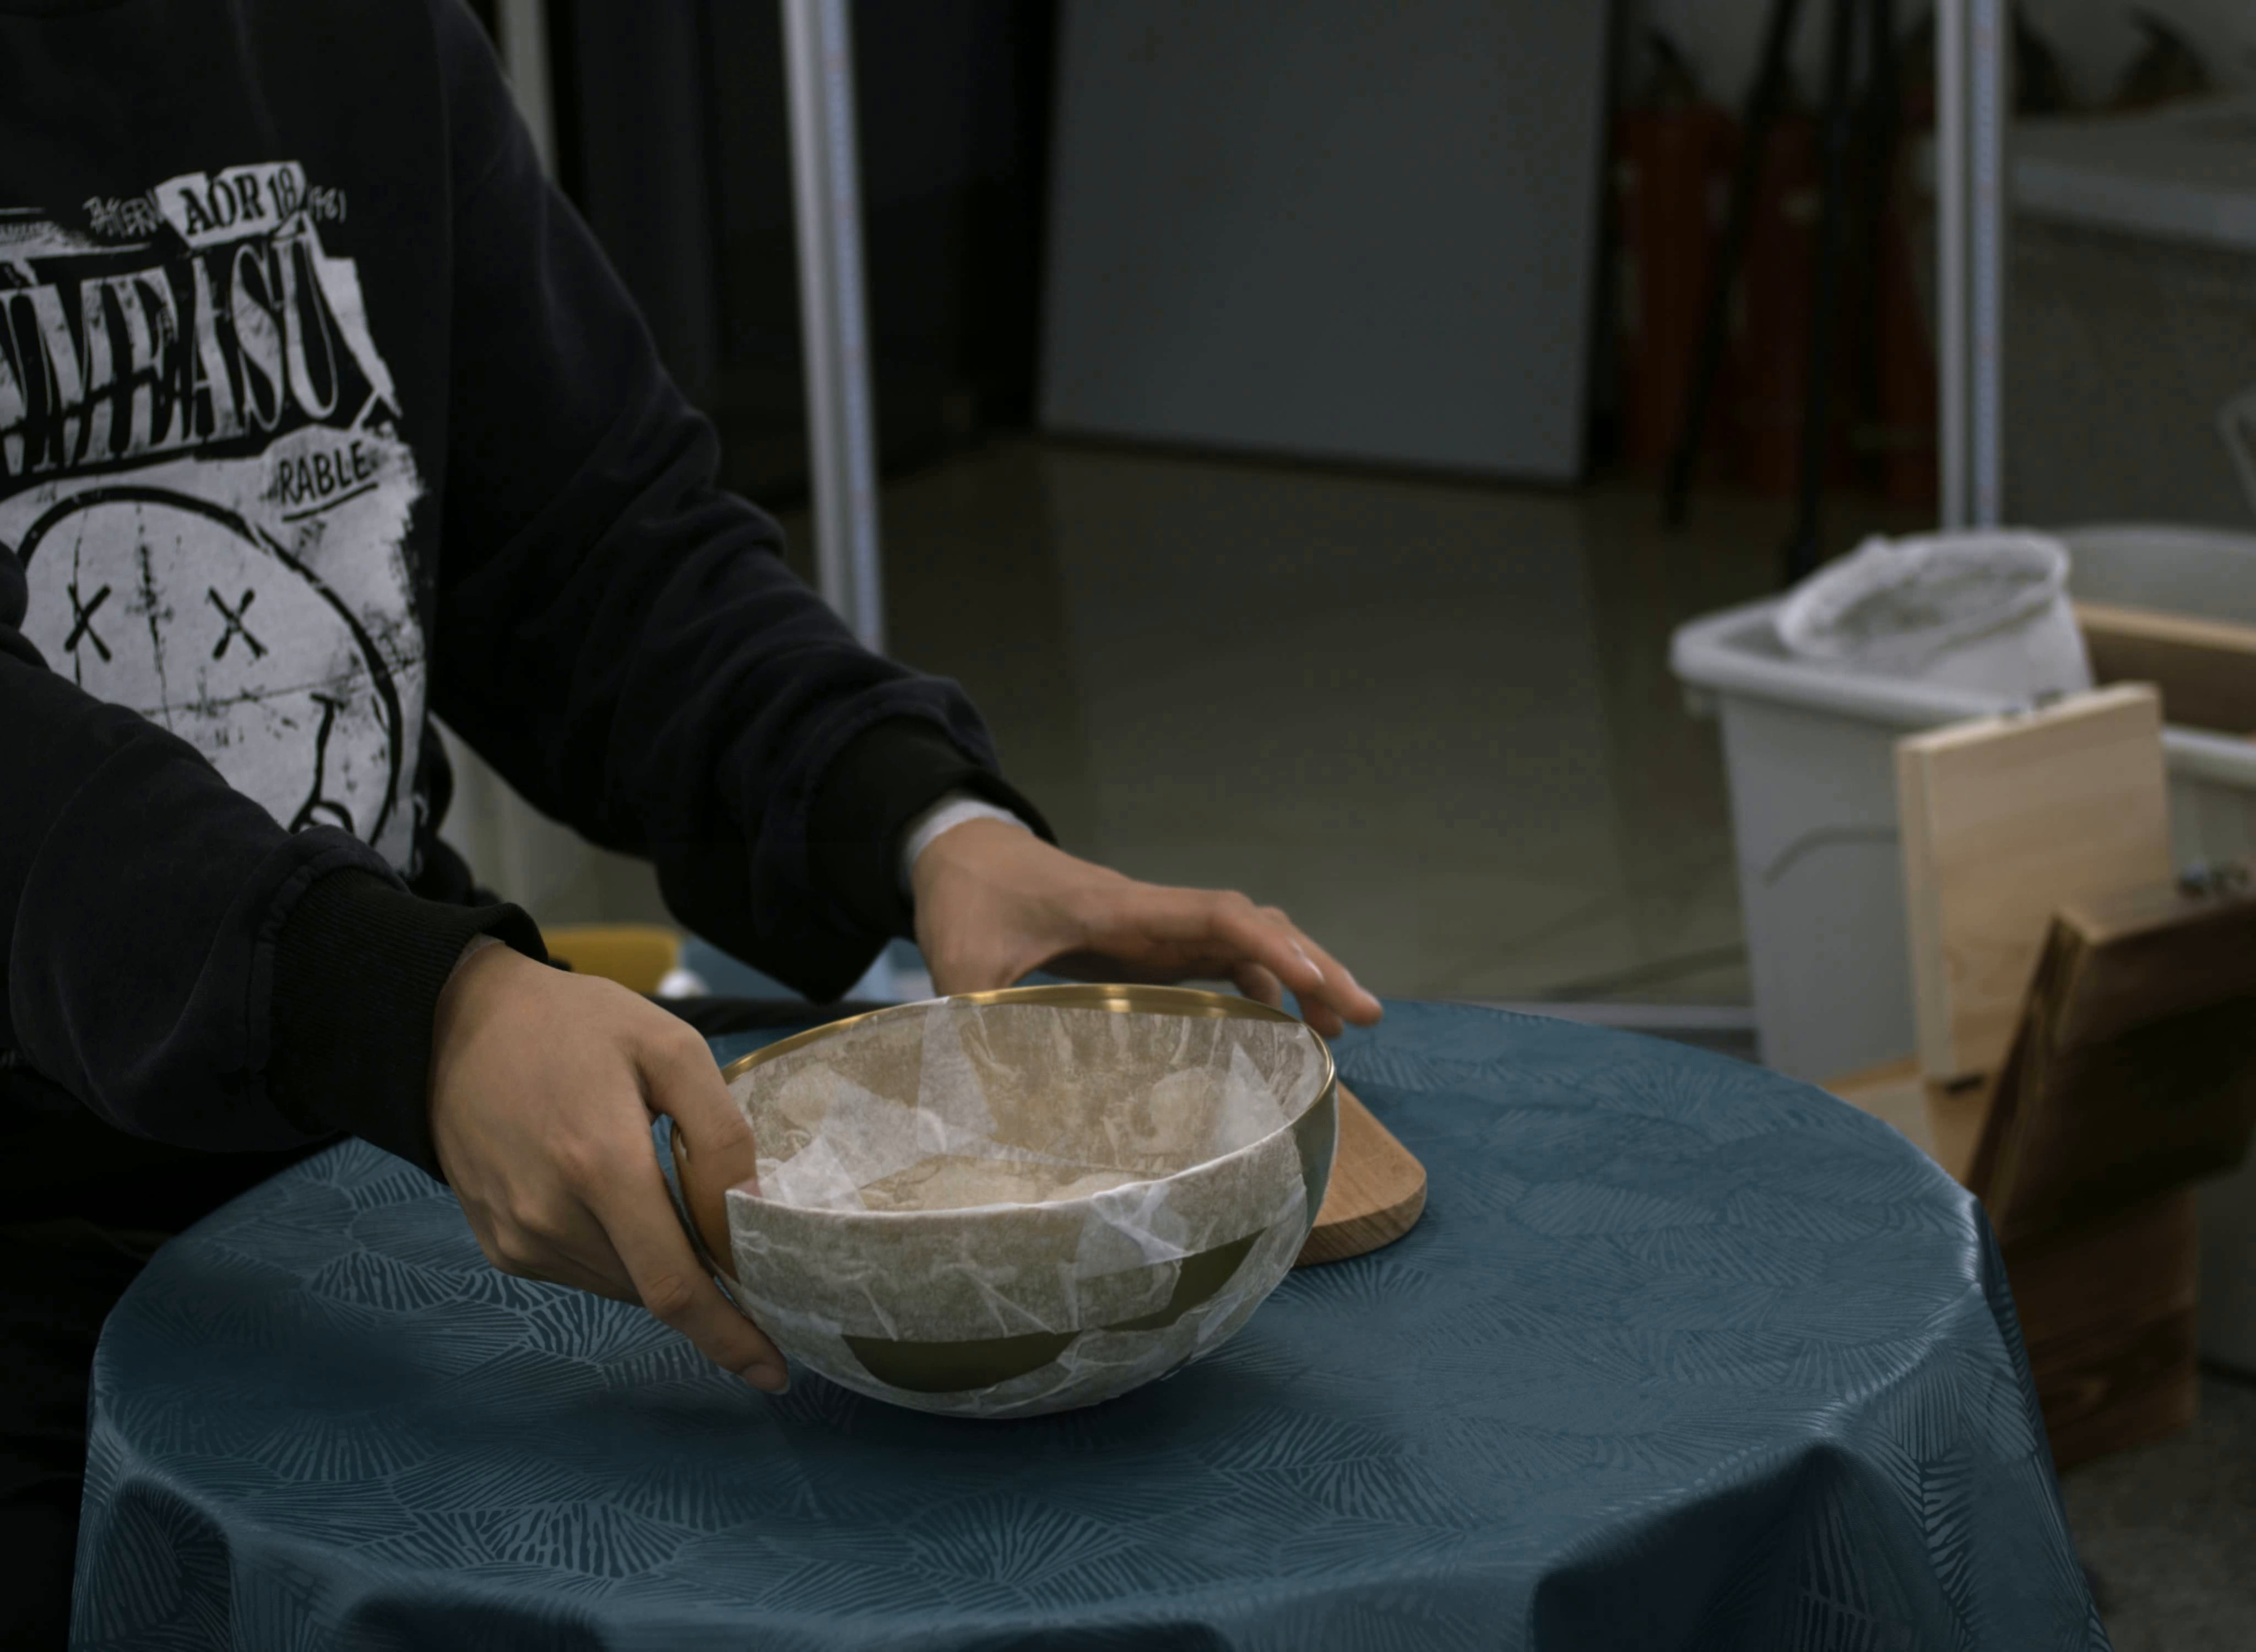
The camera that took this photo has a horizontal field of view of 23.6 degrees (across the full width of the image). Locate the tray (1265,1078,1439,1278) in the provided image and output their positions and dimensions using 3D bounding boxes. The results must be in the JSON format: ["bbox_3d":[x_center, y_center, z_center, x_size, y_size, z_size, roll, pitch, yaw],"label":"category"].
[{"bbox_3d":[0.033,0.107,1.786,0.100,0.020,0.233,-10,17,-12],"label":"tray"}]

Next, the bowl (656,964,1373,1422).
[{"bbox_3d":[-0.030,0.118,1.594,0.212,0.095,0.215,-8,16,1],"label":"bowl"}]
